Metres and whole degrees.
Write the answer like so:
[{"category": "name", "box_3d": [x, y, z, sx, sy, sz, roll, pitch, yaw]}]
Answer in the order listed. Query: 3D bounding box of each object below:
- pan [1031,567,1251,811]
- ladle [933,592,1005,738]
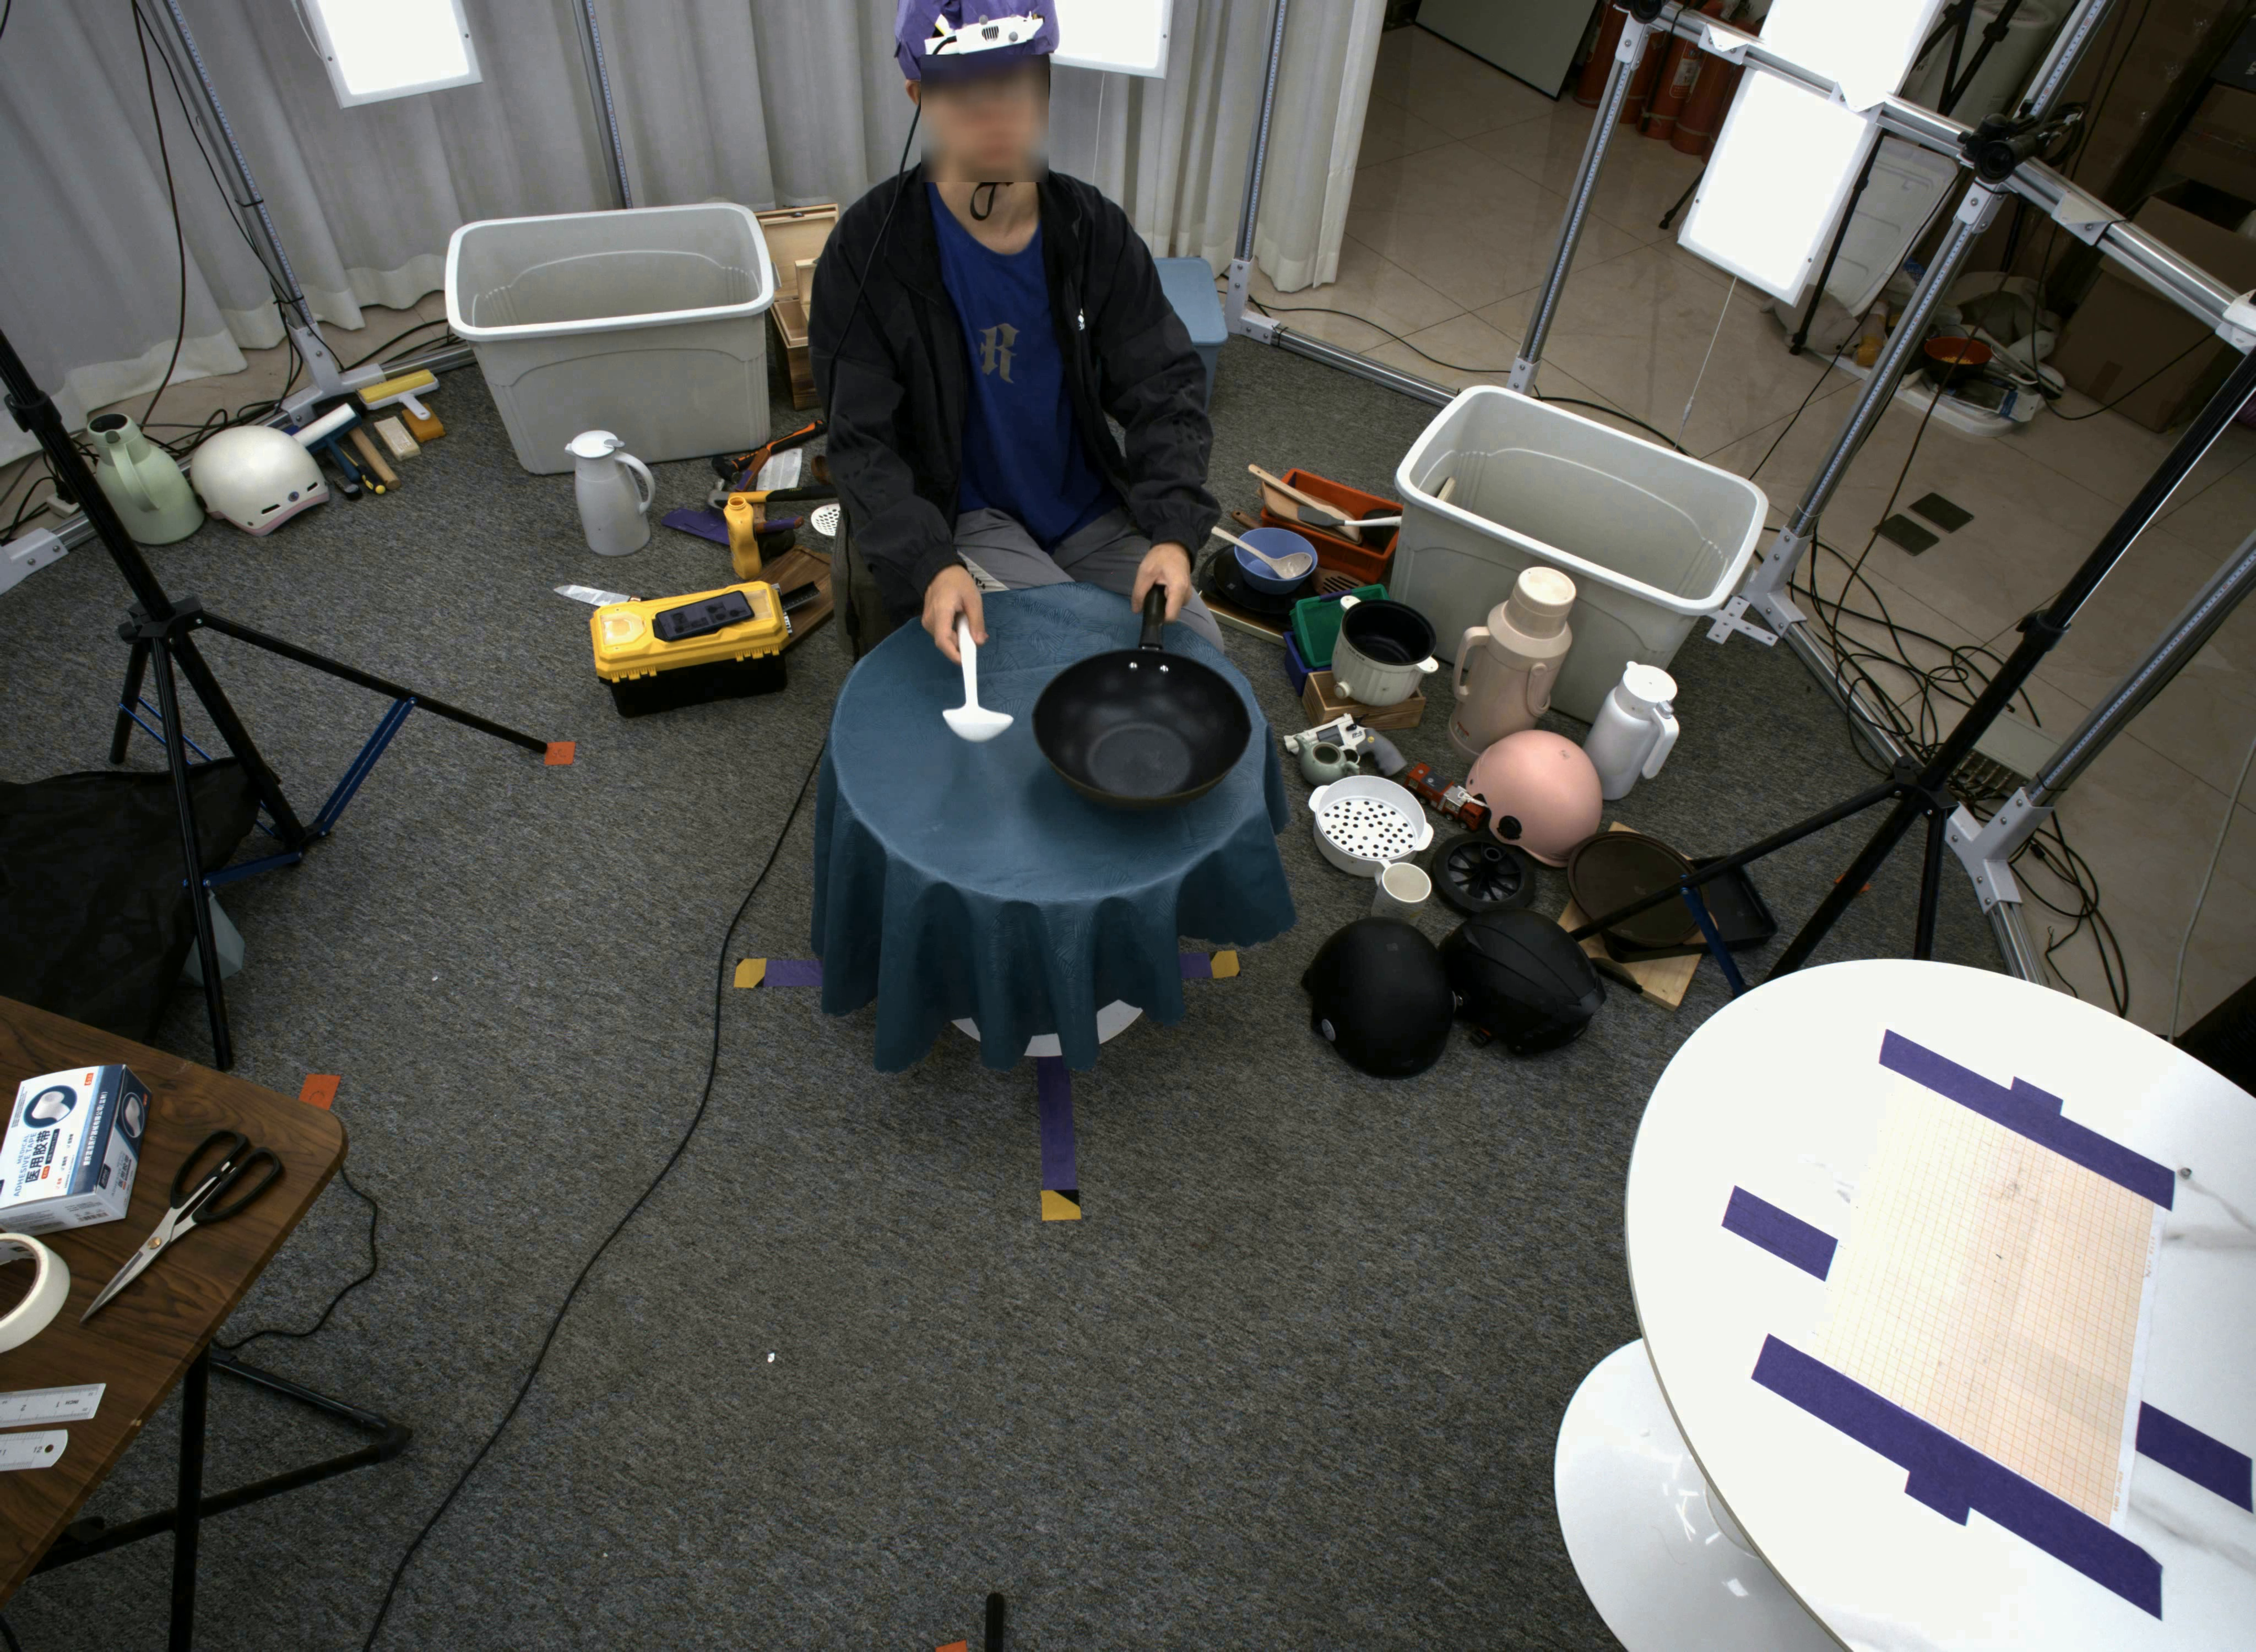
[{"category": "pan", "box_3d": [0.025, -0.184, 1.757, 0.288, 0.085, 0.474, 5, 48, 3]}, {"category": "ladle", "box_3d": [-0.214, -0.226, 1.723, 0.090, 0.068, 0.300, 0, 47, -8]}]
